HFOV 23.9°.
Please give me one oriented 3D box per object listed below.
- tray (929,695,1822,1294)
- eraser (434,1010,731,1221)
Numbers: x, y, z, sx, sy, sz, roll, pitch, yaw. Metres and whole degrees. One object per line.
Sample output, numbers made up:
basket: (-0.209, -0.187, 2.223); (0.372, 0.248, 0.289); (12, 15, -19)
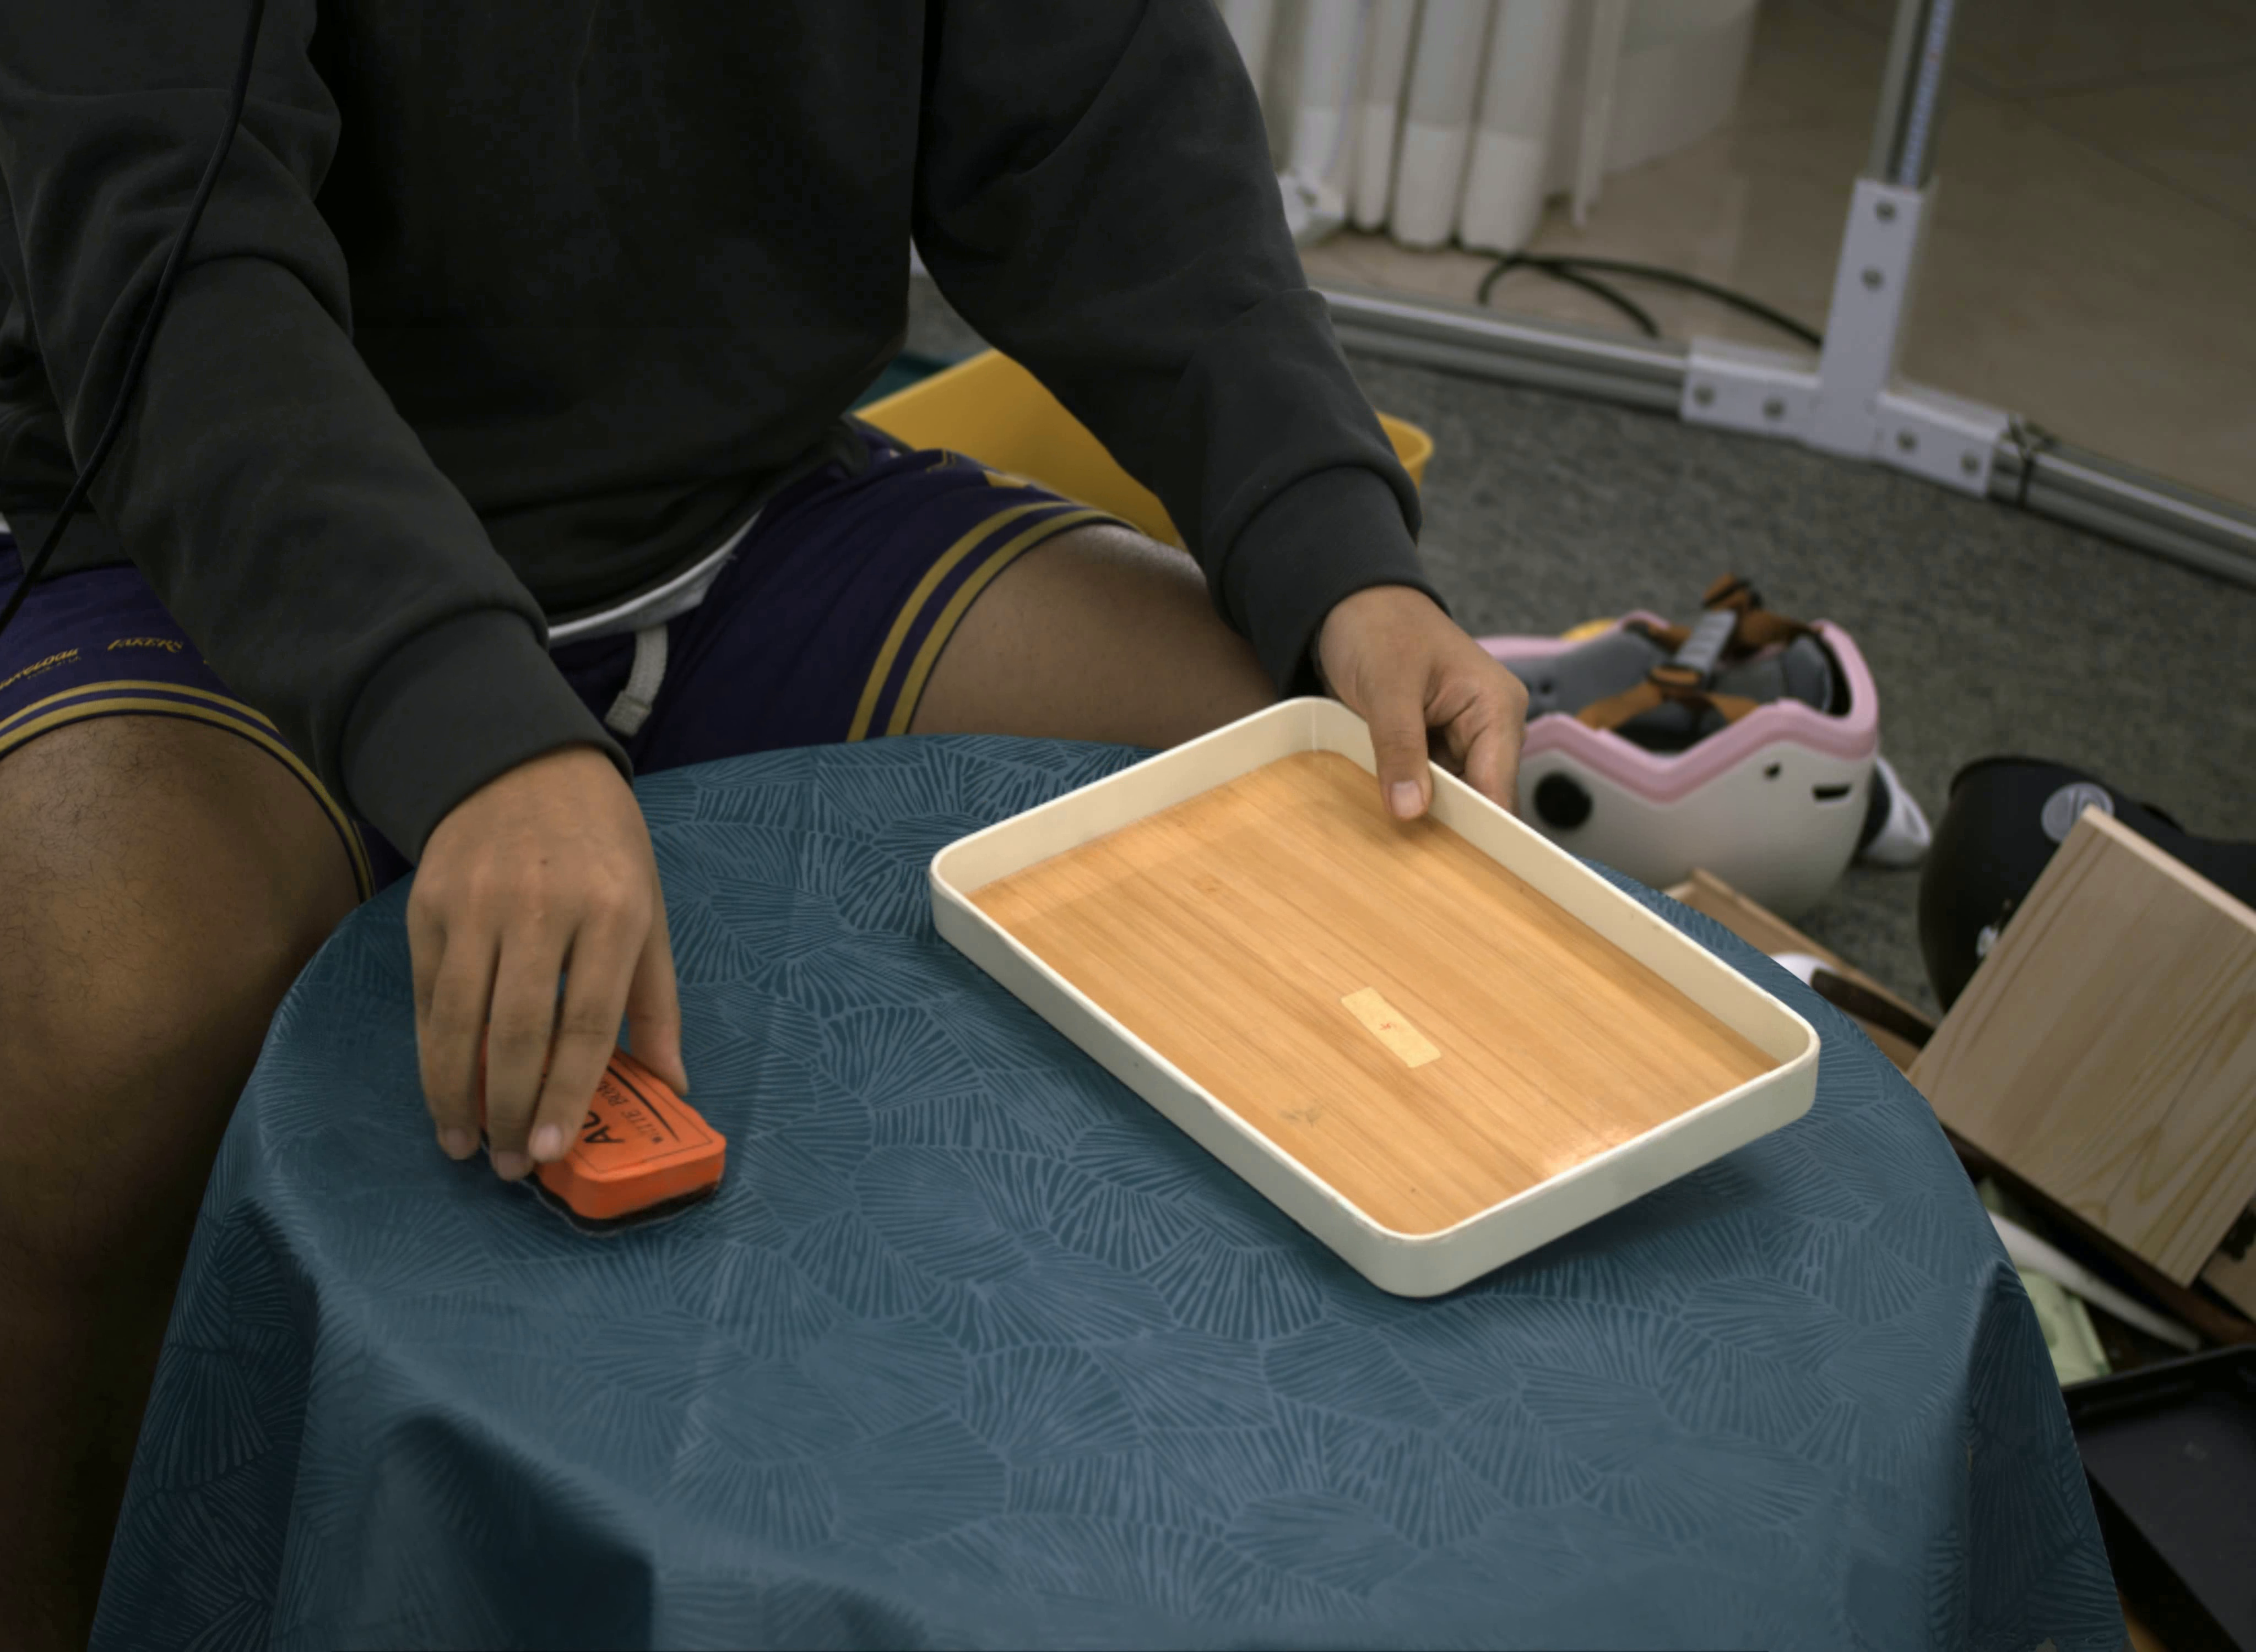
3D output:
tray: (0.083, 0.054, 1.891); (0.191, 0.027, 0.303); (-23, 38, -27)
eraser: (-0.184, 0.096, 1.782); (0.058, 0.023, 0.109); (-6, 27, -37)
